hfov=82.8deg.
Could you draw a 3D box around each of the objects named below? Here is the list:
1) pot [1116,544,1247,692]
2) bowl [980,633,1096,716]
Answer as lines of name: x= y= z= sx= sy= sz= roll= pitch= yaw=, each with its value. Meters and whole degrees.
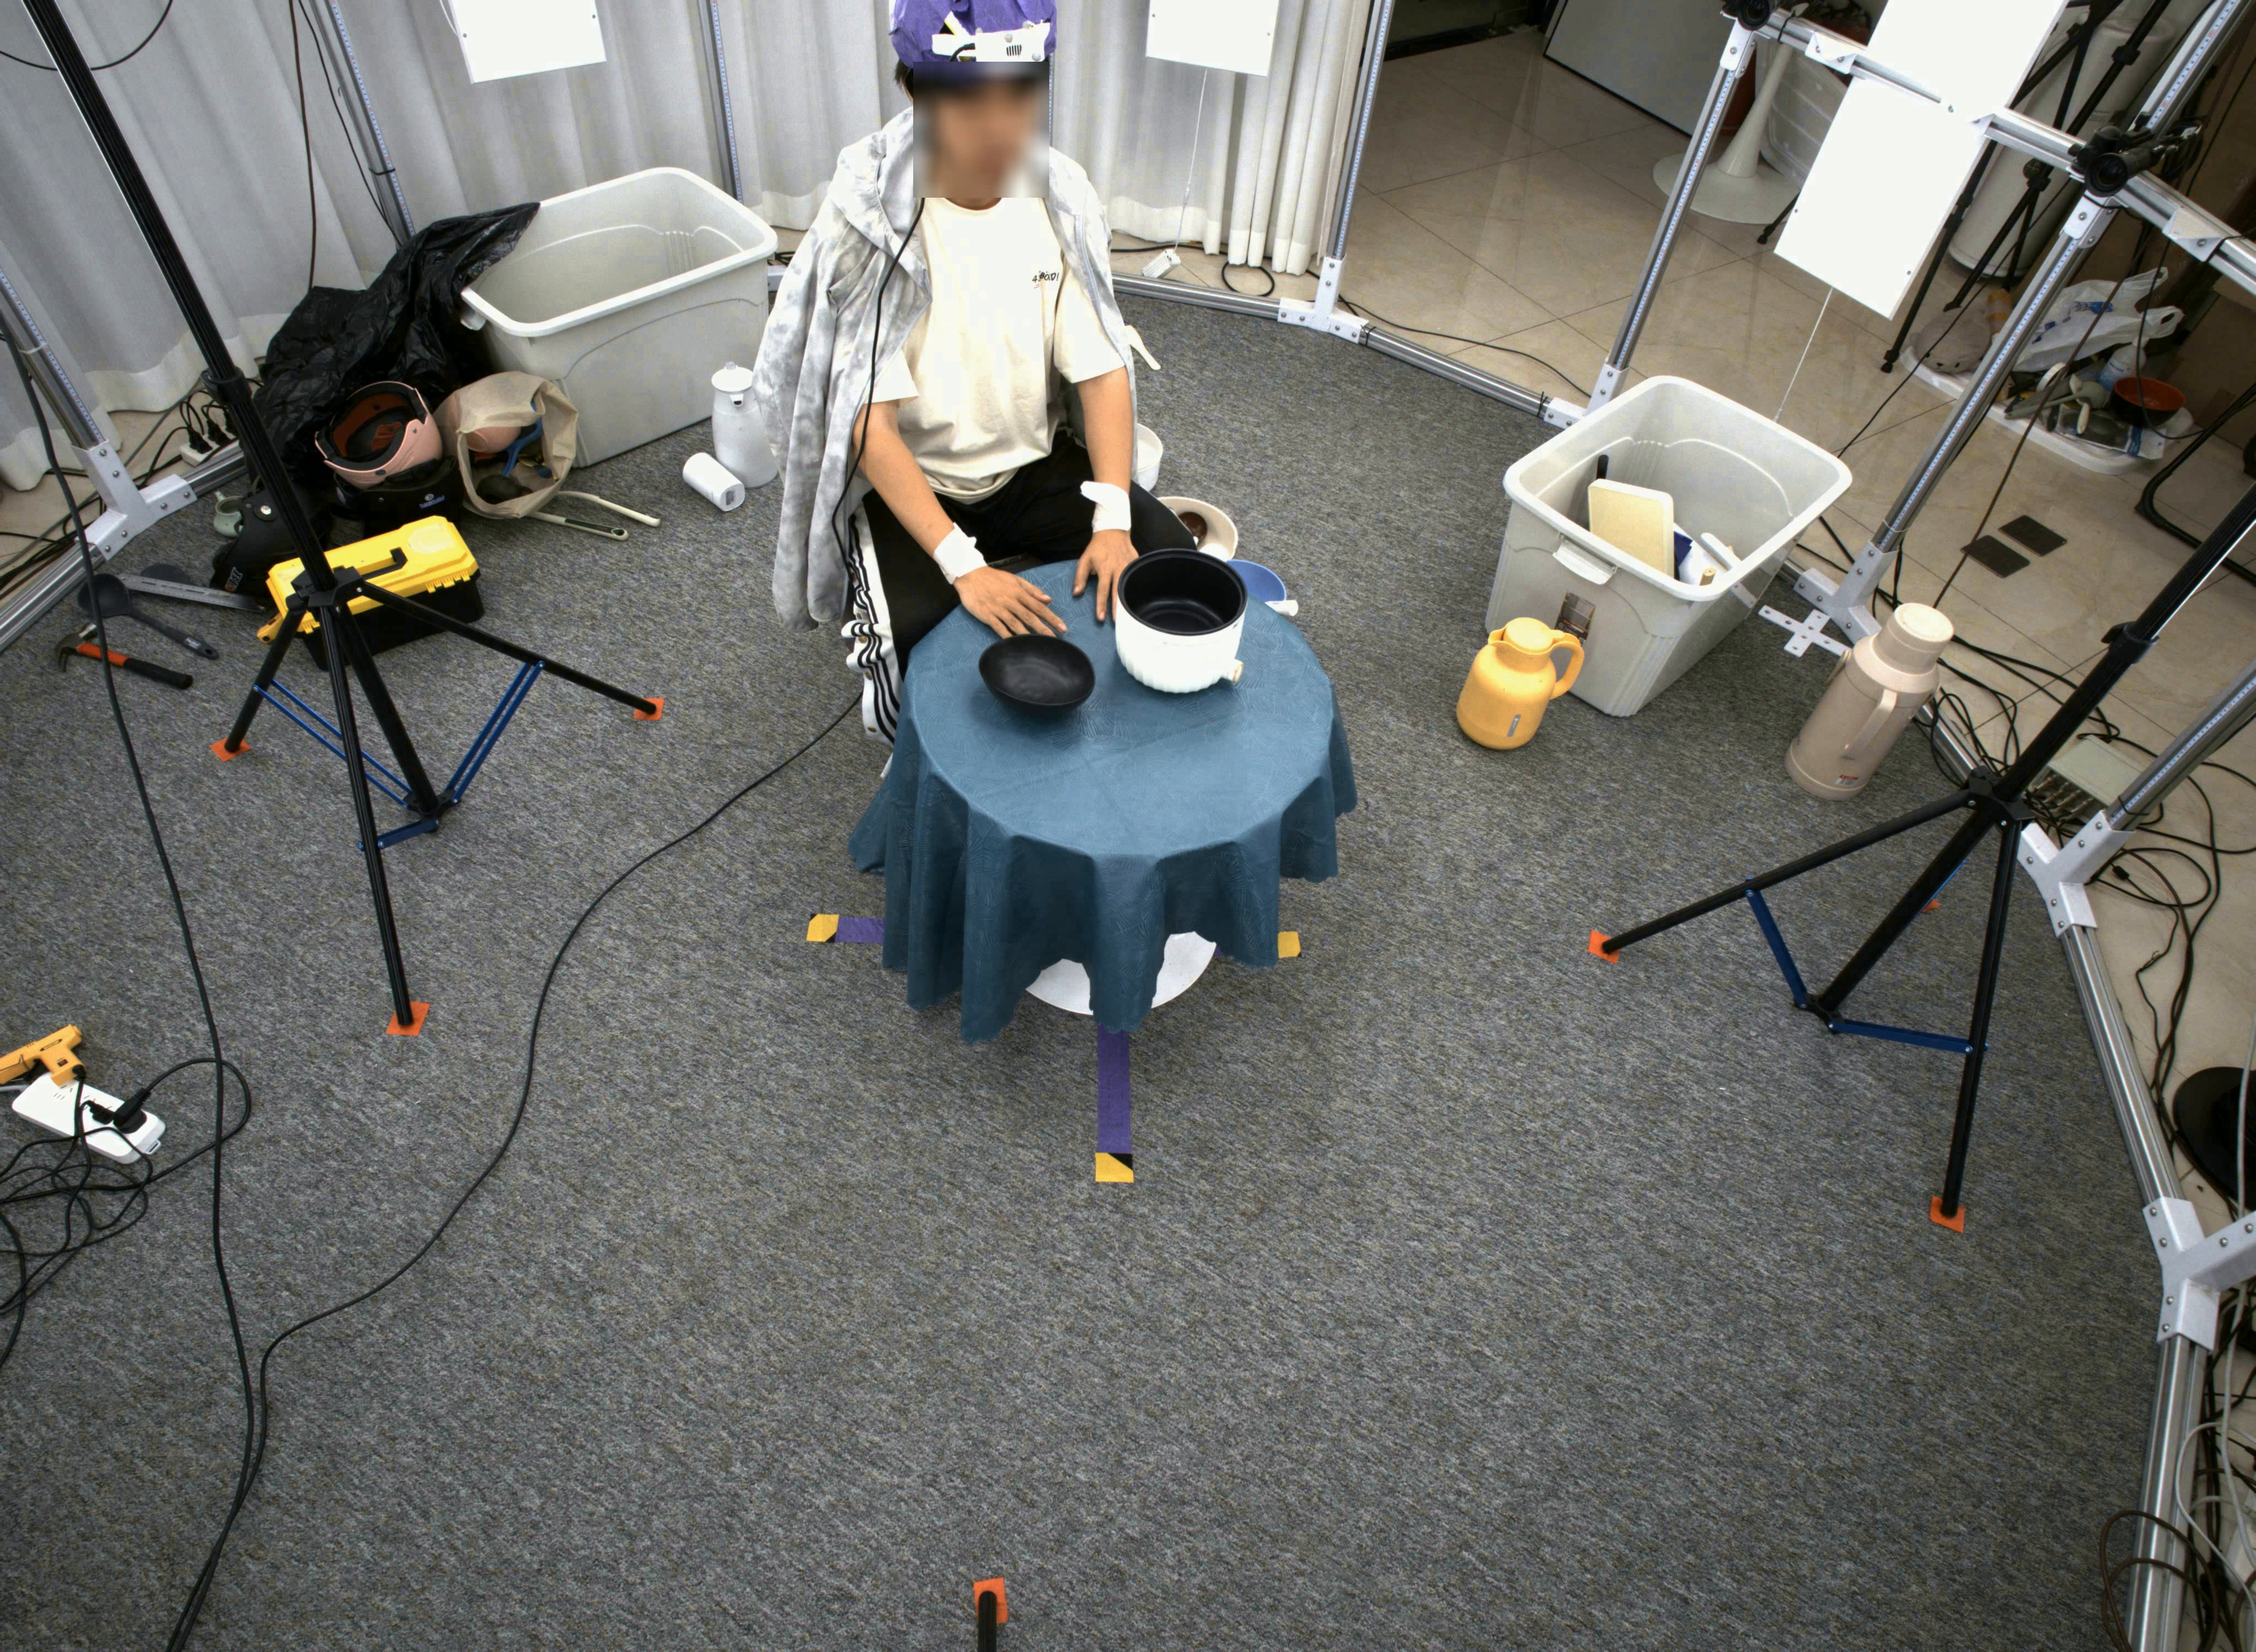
pot: x=0.077 y=-0.284 z=1.824 sx=0.192 sy=0.139 sz=0.244 roll=21 pitch=51 yaw=18
bowl: x=-0.127 y=-0.199 z=1.783 sx=0.171 sy=0.065 sz=0.139 roll=23 pitch=50 yaw=17
